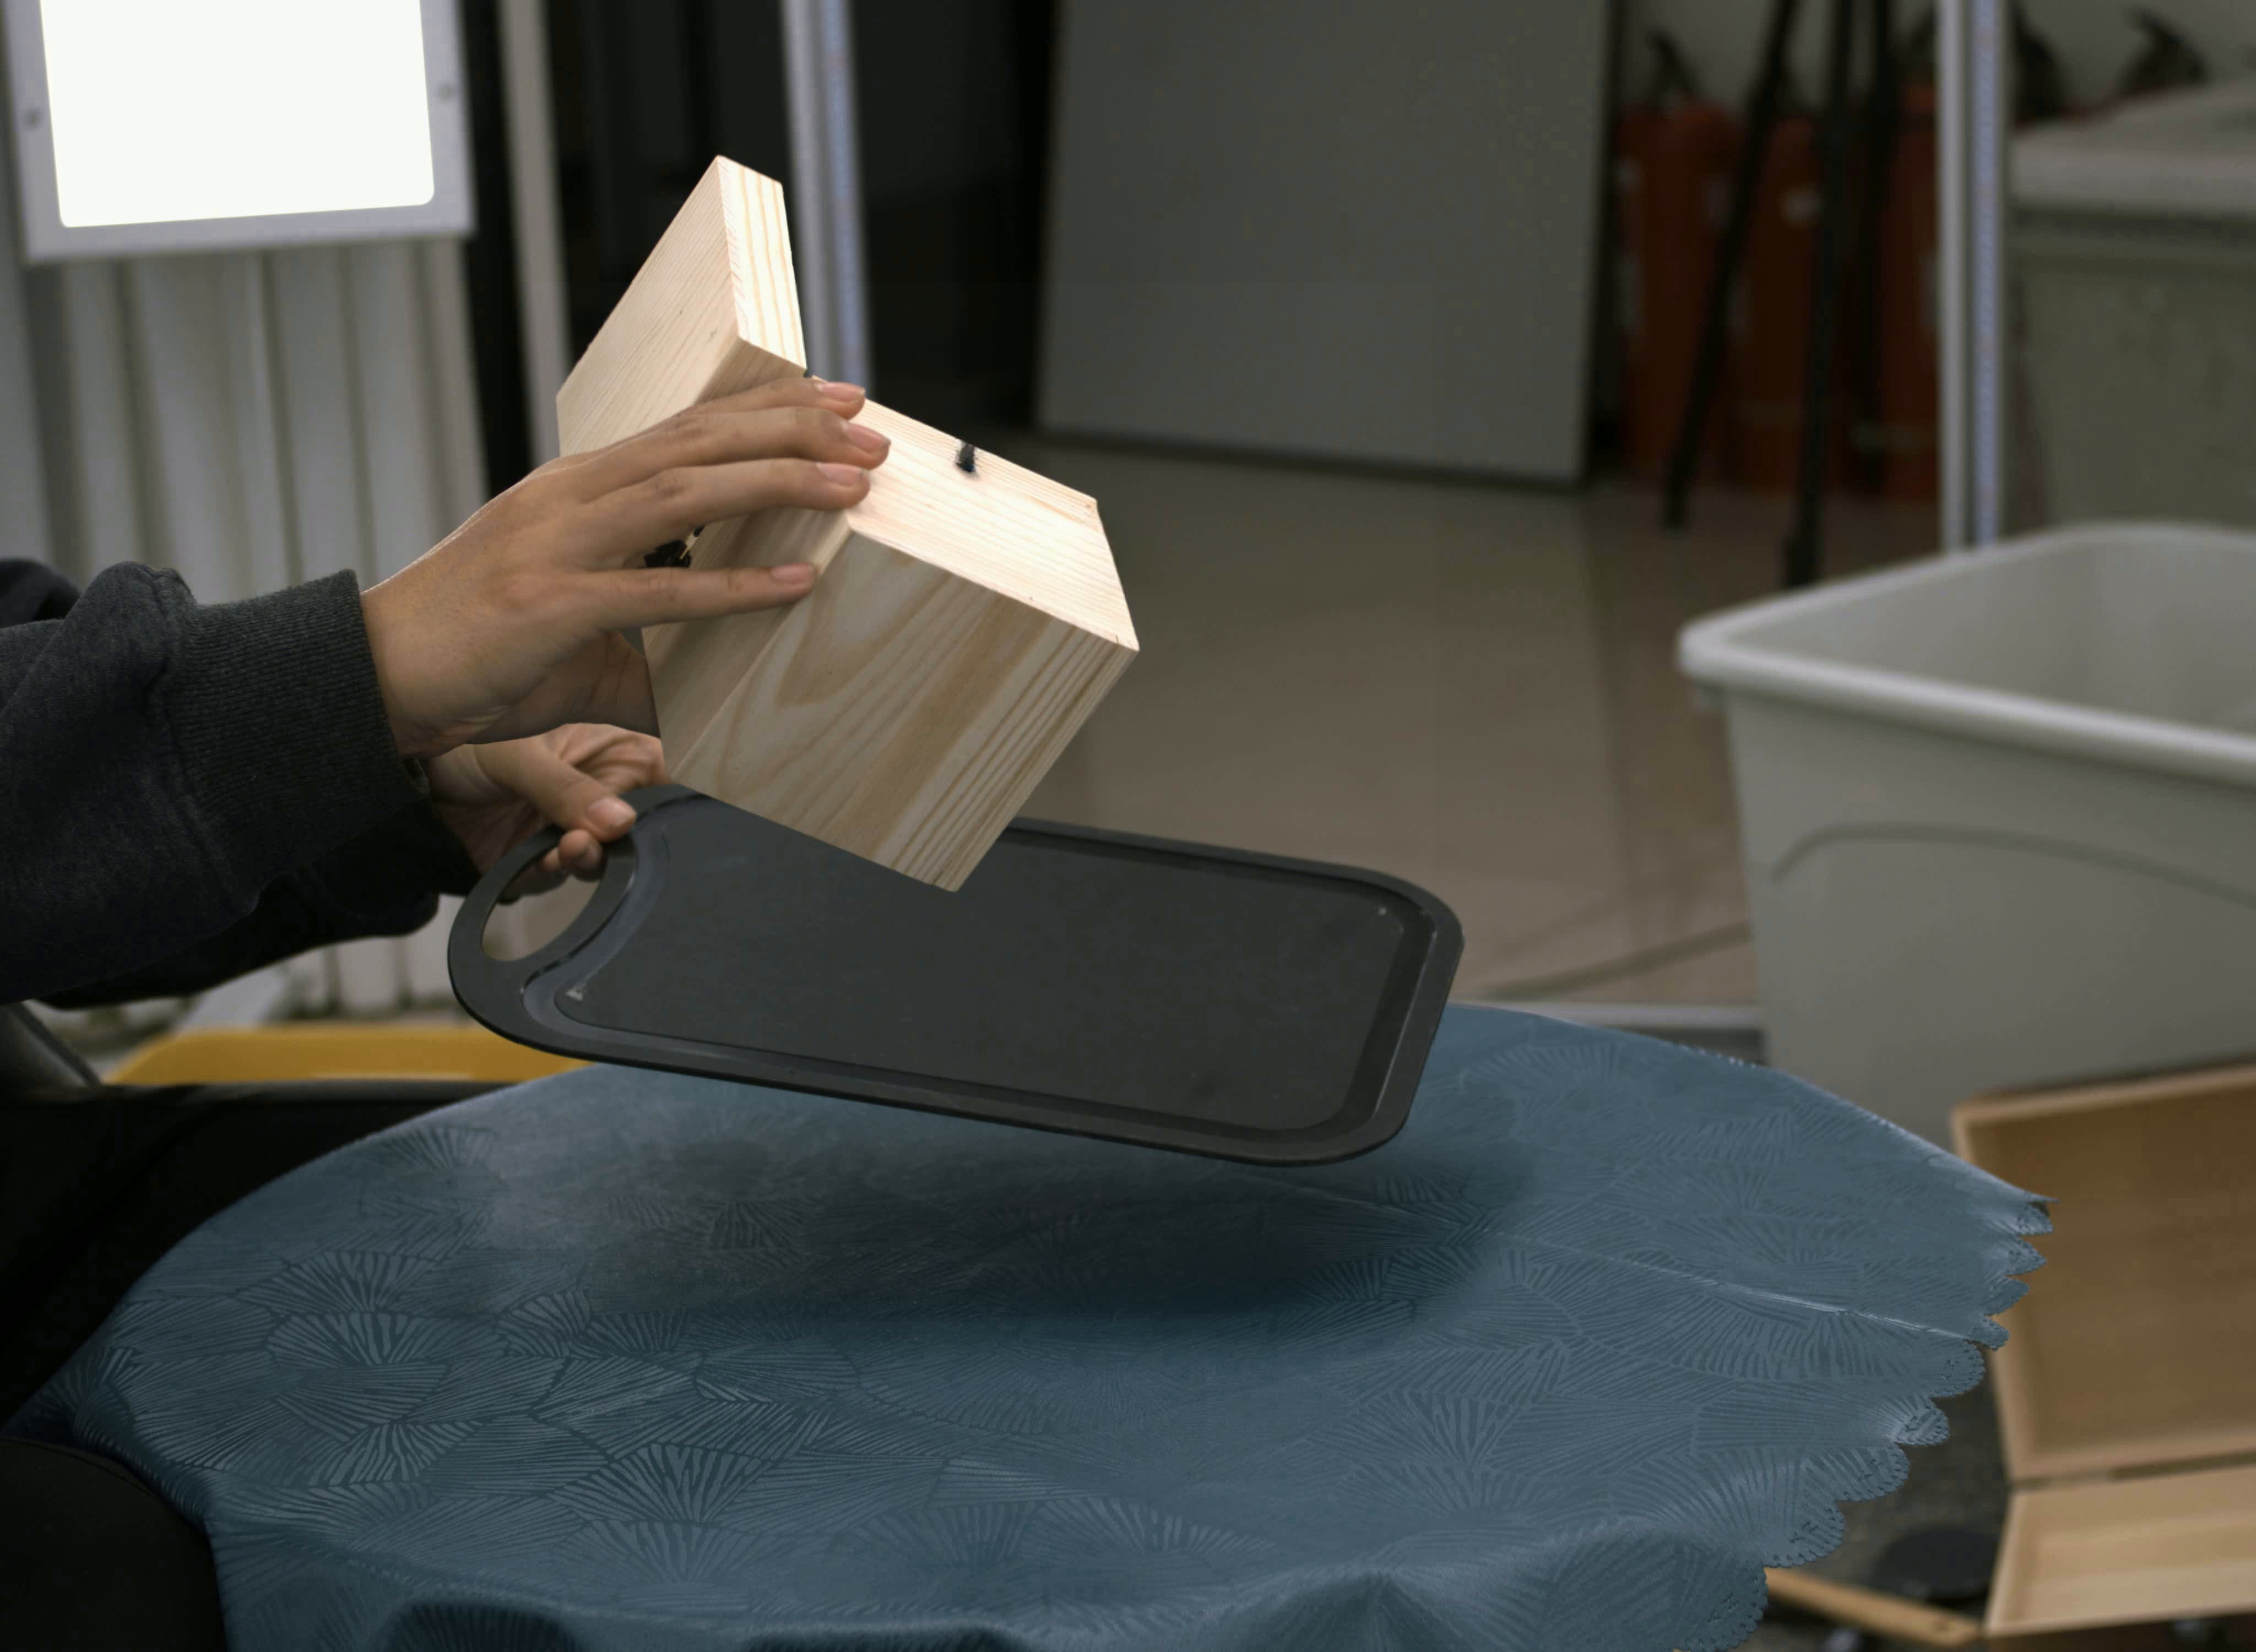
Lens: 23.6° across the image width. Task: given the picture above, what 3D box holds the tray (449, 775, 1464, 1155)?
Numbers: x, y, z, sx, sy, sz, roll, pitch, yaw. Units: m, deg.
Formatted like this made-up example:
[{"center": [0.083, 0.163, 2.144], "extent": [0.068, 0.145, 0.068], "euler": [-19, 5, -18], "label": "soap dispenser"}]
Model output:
[{"center": [-0.058, 0.040, 1.748], "extent": [0.323, 0.010, 0.210], "euler": [8, 26, 11], "label": "tray"}]

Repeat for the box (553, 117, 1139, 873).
[{"center": [-0.086, -0.099, 1.606], "extent": [0.131, 0.103, 0.186], "euler": [21, 33, -28], "label": "box"}]
